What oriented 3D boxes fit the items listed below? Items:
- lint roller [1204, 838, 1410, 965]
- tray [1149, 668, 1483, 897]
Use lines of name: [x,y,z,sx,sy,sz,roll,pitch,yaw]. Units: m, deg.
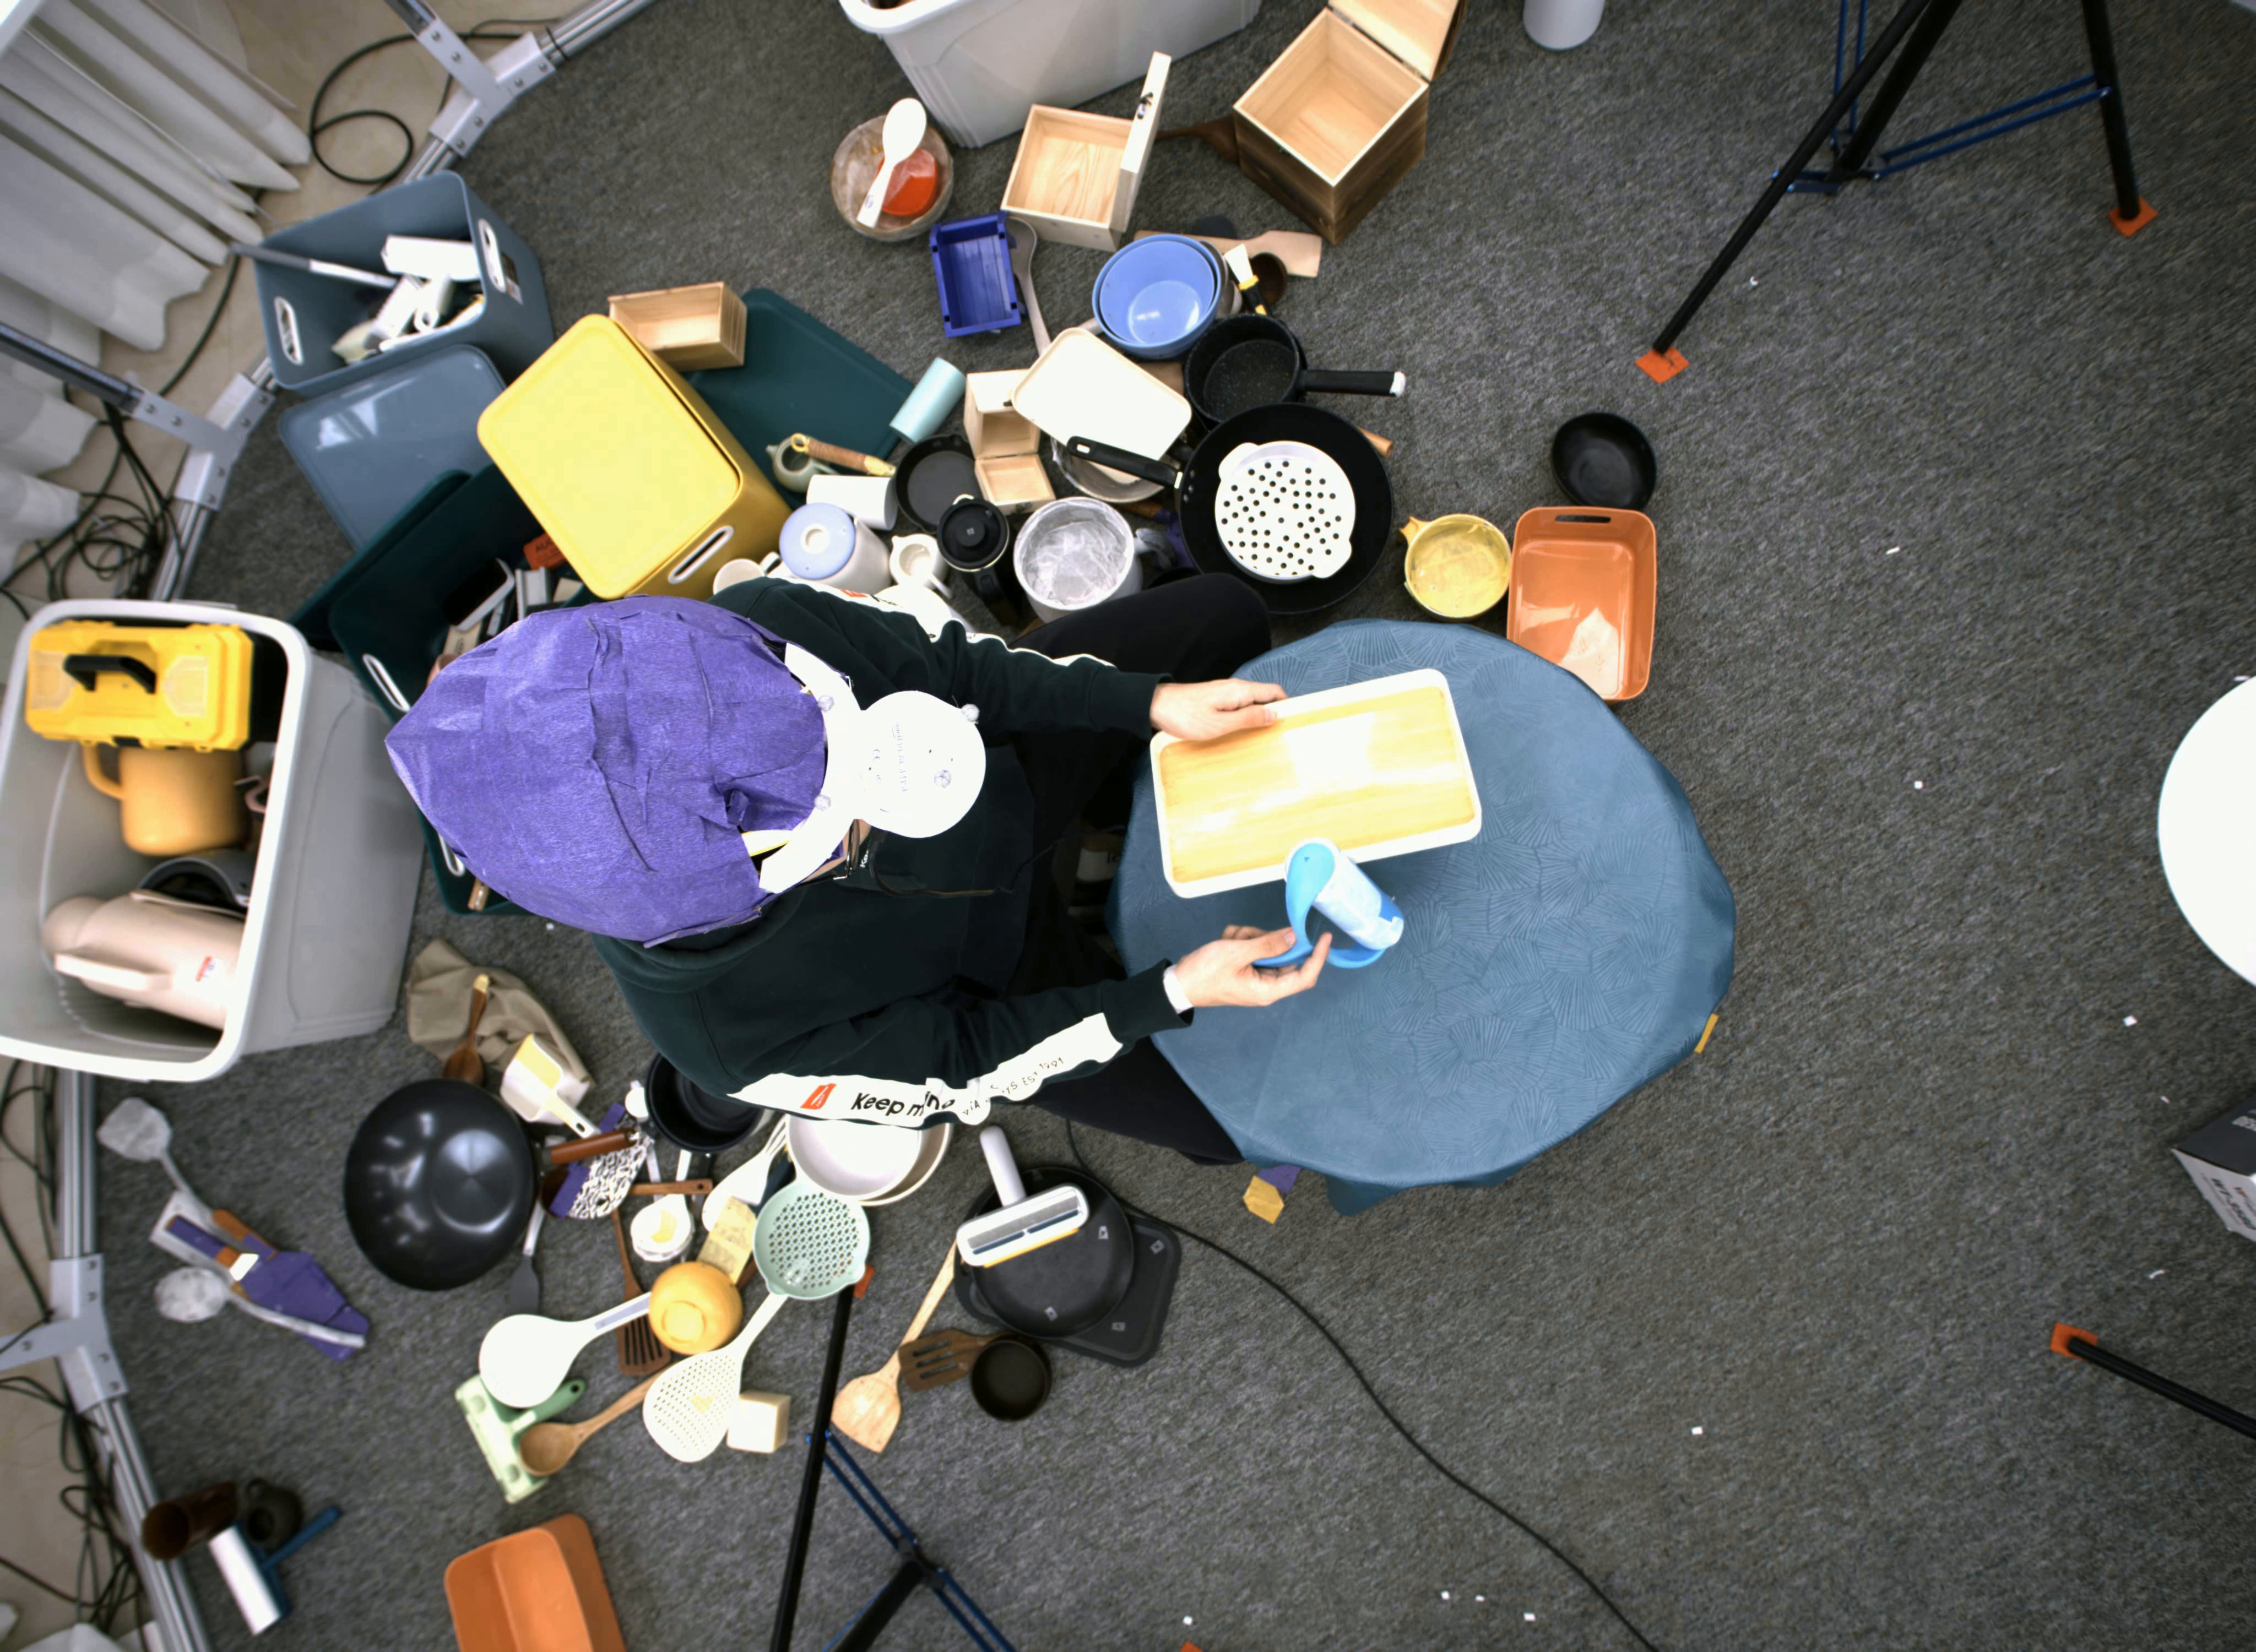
lint roller: [0.158,0.095,1.294,0.183,0.230,0.067,-33,61,19]
tray: [0.175,-0.044,1.326,0.302,0.028,0.187,-12,58,11]
